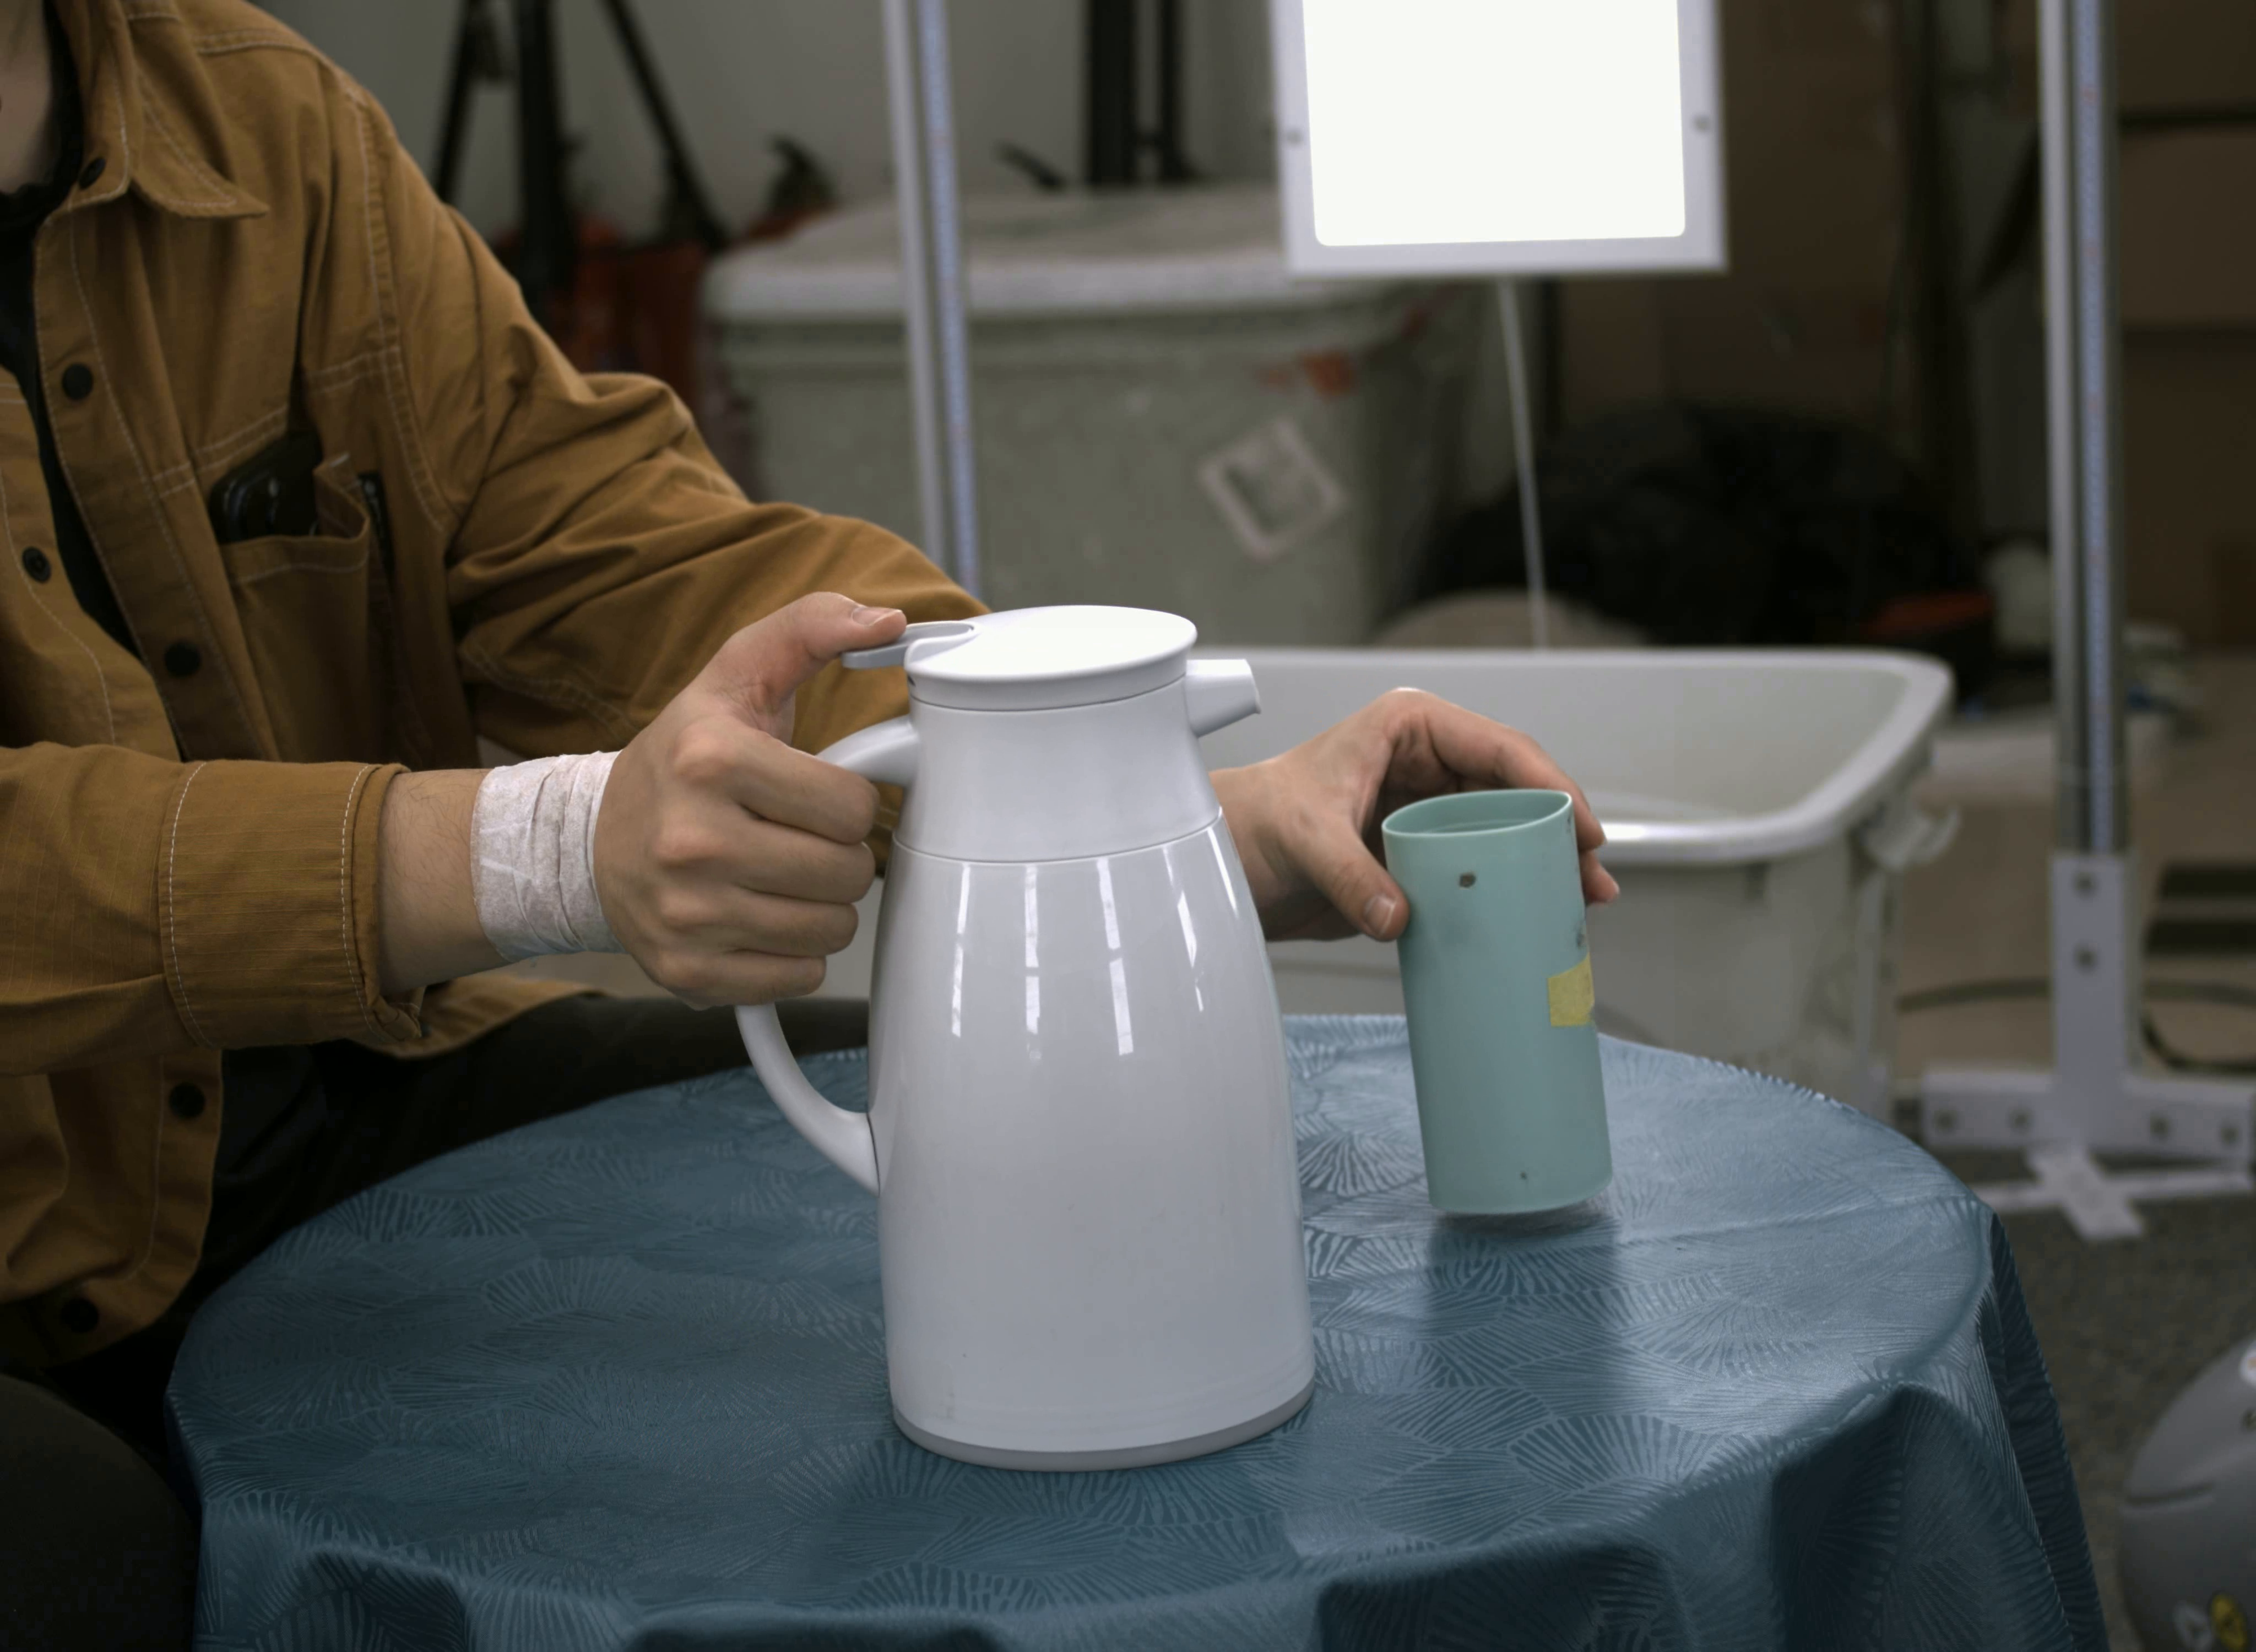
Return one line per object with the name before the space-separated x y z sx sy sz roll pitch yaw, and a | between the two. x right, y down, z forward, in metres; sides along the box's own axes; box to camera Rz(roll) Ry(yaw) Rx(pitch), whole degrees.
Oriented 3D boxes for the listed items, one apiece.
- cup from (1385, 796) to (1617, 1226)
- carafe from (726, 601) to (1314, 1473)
cup | 0.124 0.061 1.826 0.066 0.133 0.066 -7 11 0
carafe | -0.035 0.059 1.666 0.167 0.249 0.133 -6 14 -3
